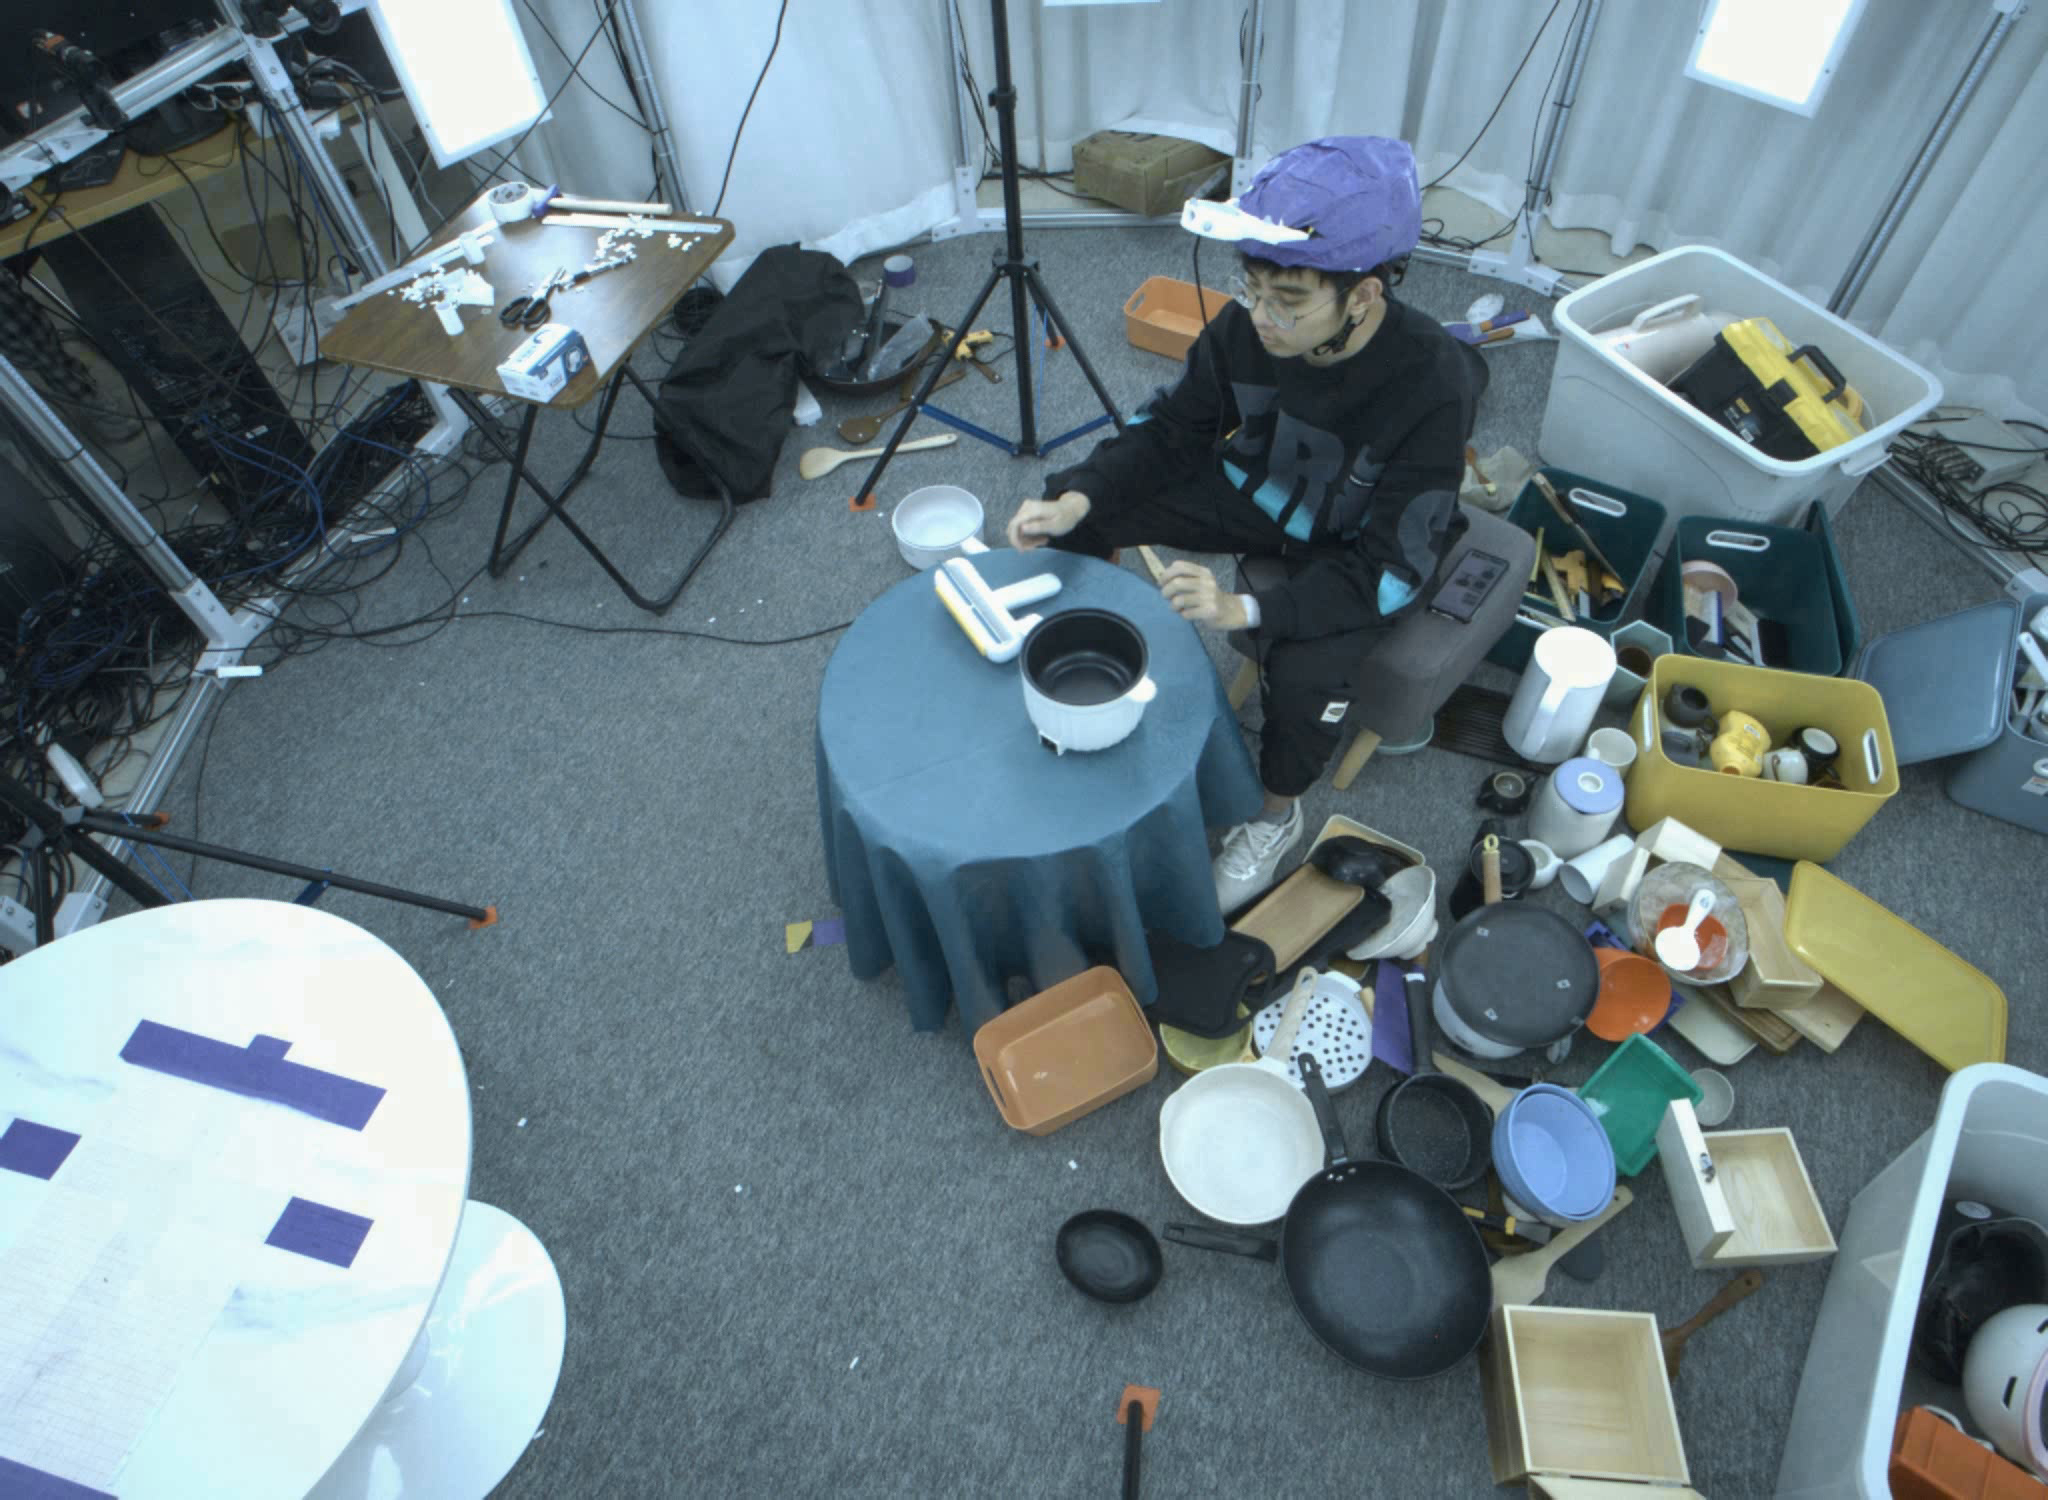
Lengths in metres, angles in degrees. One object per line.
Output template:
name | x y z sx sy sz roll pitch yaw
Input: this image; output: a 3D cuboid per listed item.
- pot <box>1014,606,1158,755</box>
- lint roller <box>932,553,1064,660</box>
pot | 0.090 -0.098 1.764 0.236 0.144 0.191 33 65 22
lint roller | -0.024 -0.241 1.913 0.194 0.075 0.189 -26 63 -17
